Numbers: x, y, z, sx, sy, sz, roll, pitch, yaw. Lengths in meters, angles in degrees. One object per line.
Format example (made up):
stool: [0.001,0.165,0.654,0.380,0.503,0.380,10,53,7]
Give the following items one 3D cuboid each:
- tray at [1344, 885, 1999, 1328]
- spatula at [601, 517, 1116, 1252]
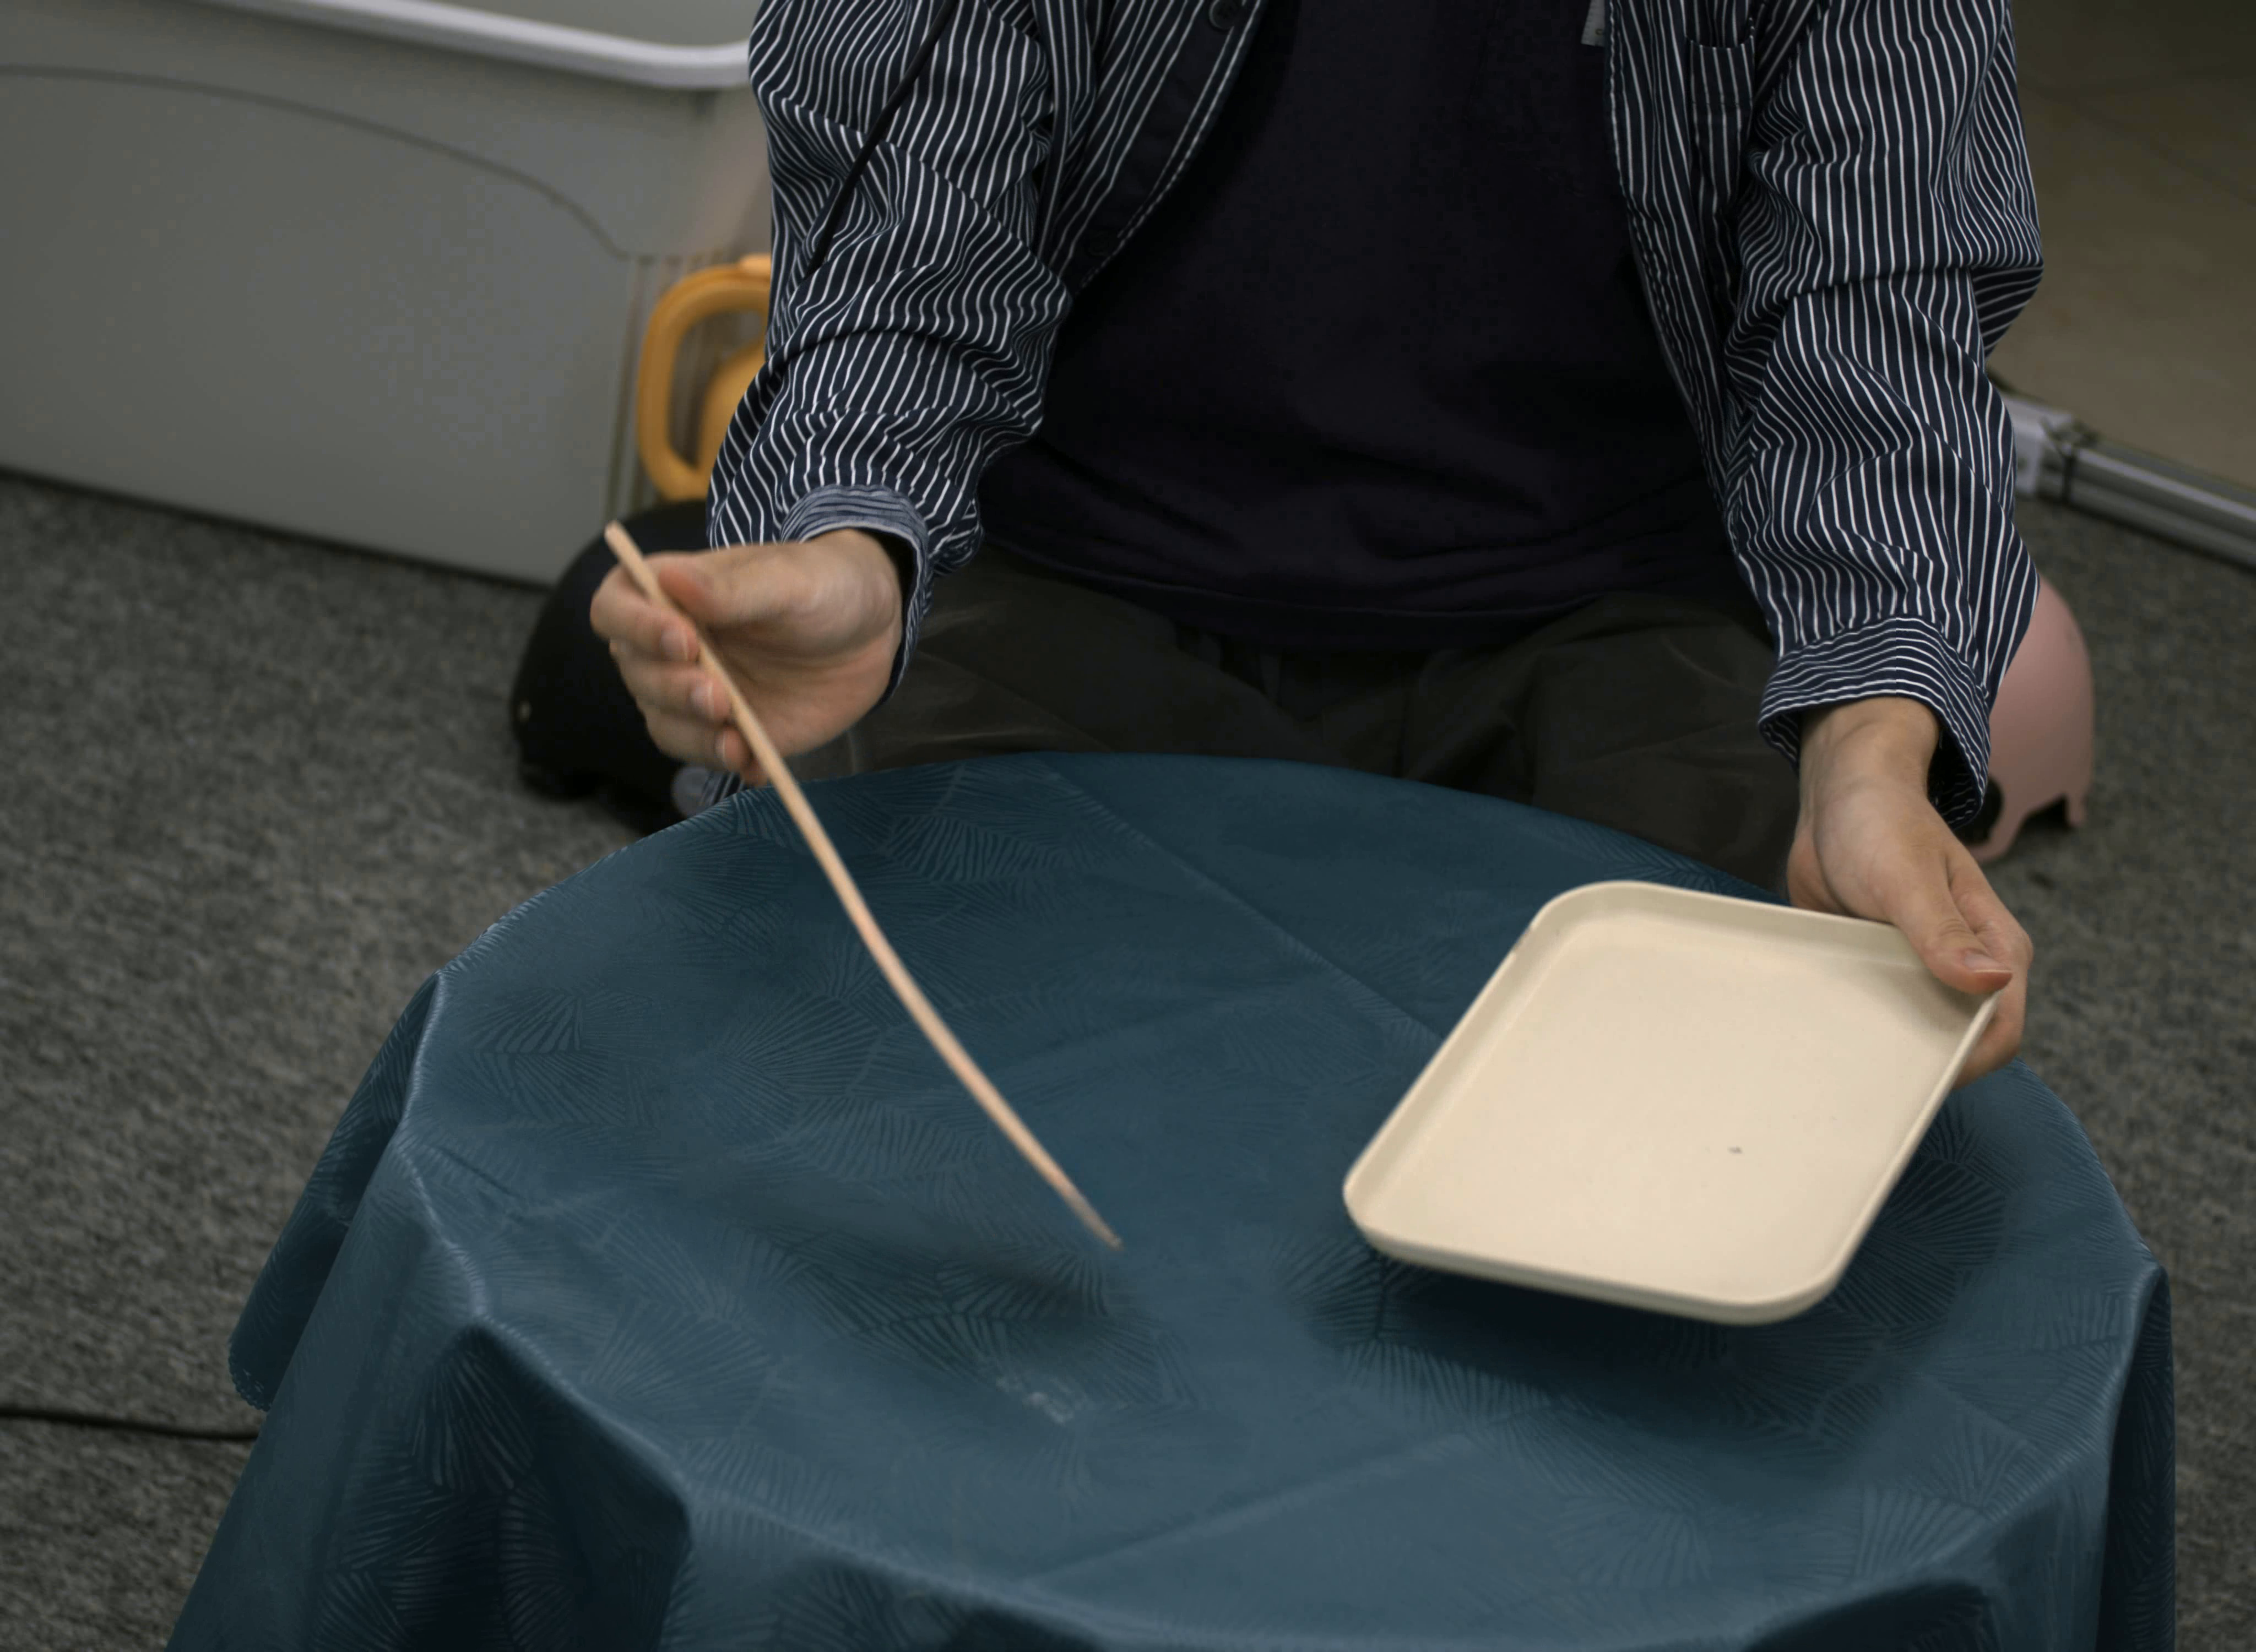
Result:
tray: [0.186,0.093,1.791,0.172,0.017,0.240,9,32,23]
spatula: [-0.093,0.016,1.769,0.016,0.079,0.330,-34,64,-1]
